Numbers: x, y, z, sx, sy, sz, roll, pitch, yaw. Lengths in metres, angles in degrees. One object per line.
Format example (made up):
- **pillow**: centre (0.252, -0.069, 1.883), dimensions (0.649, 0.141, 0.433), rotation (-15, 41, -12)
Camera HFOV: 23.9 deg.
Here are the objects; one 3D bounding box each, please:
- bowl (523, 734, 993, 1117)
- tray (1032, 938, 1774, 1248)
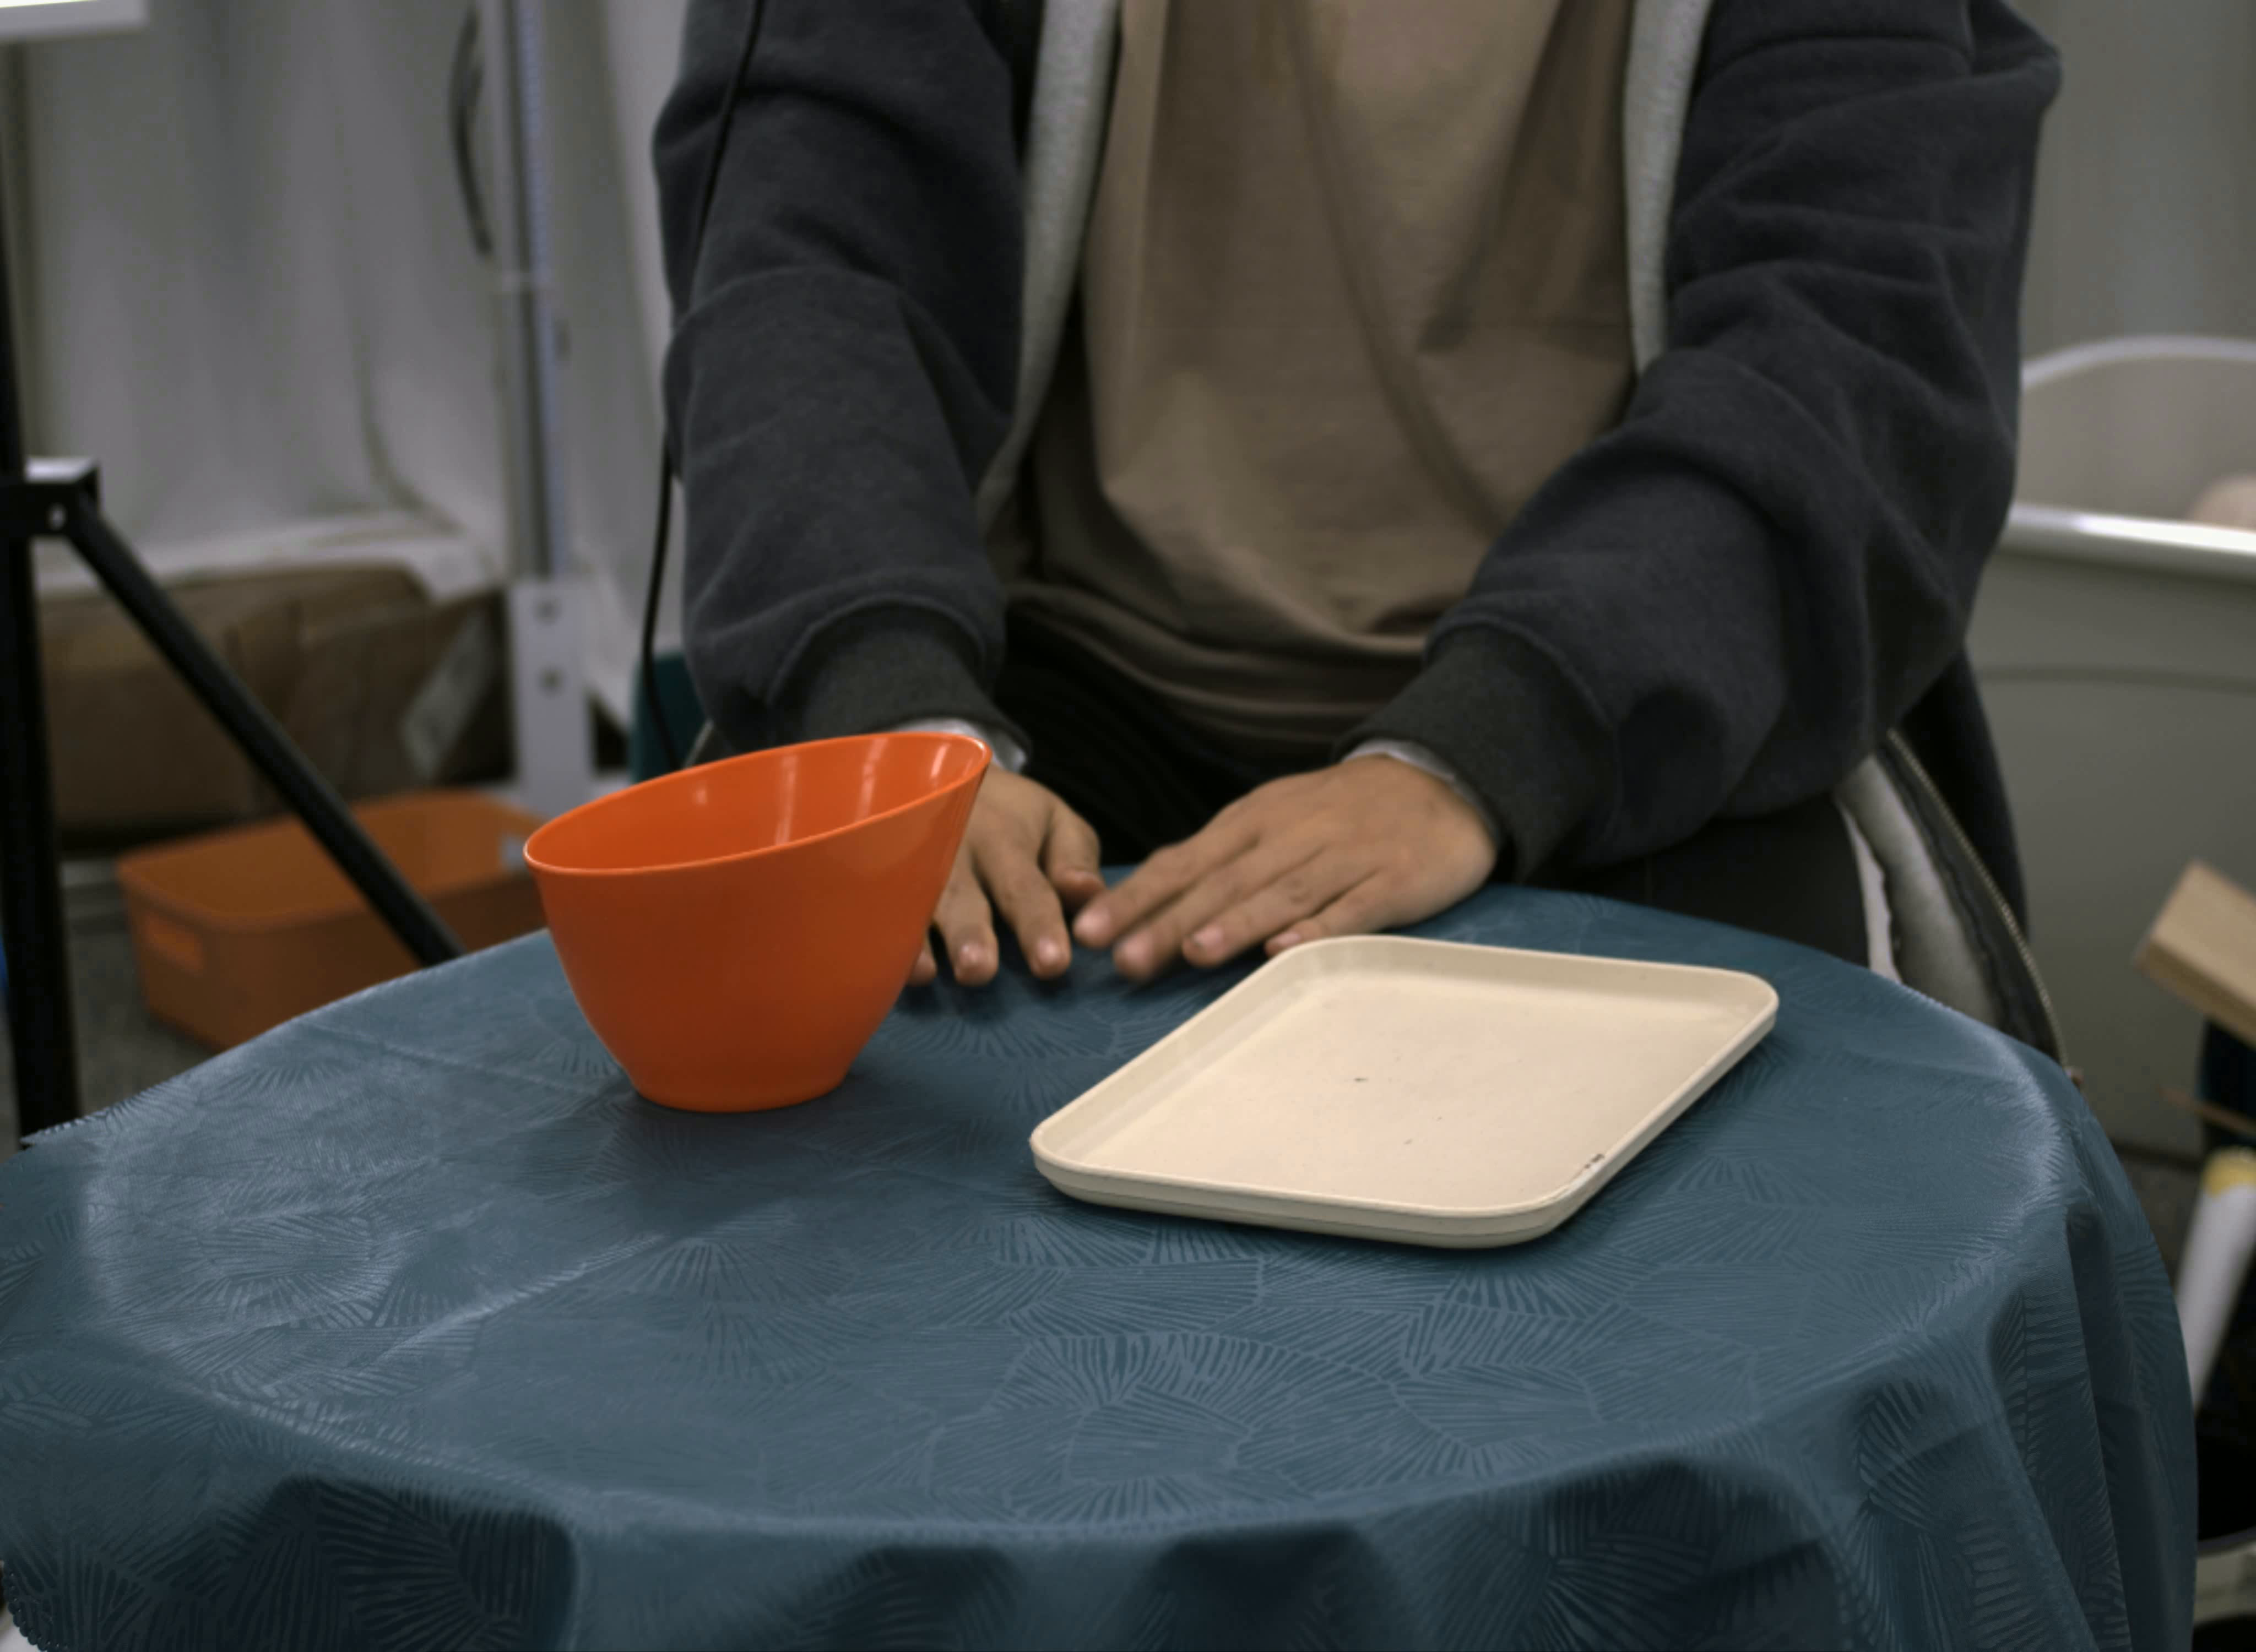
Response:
- **bowl**: centre (-0.114, 0.032, 1.663), dimensions (0.147, 0.104, 0.149), rotation (-2, 17, -1)
- **tray**: centre (0.088, 0.080, 1.612), dimensions (0.174, 0.017, 0.236), rotation (4, 17, 26)
